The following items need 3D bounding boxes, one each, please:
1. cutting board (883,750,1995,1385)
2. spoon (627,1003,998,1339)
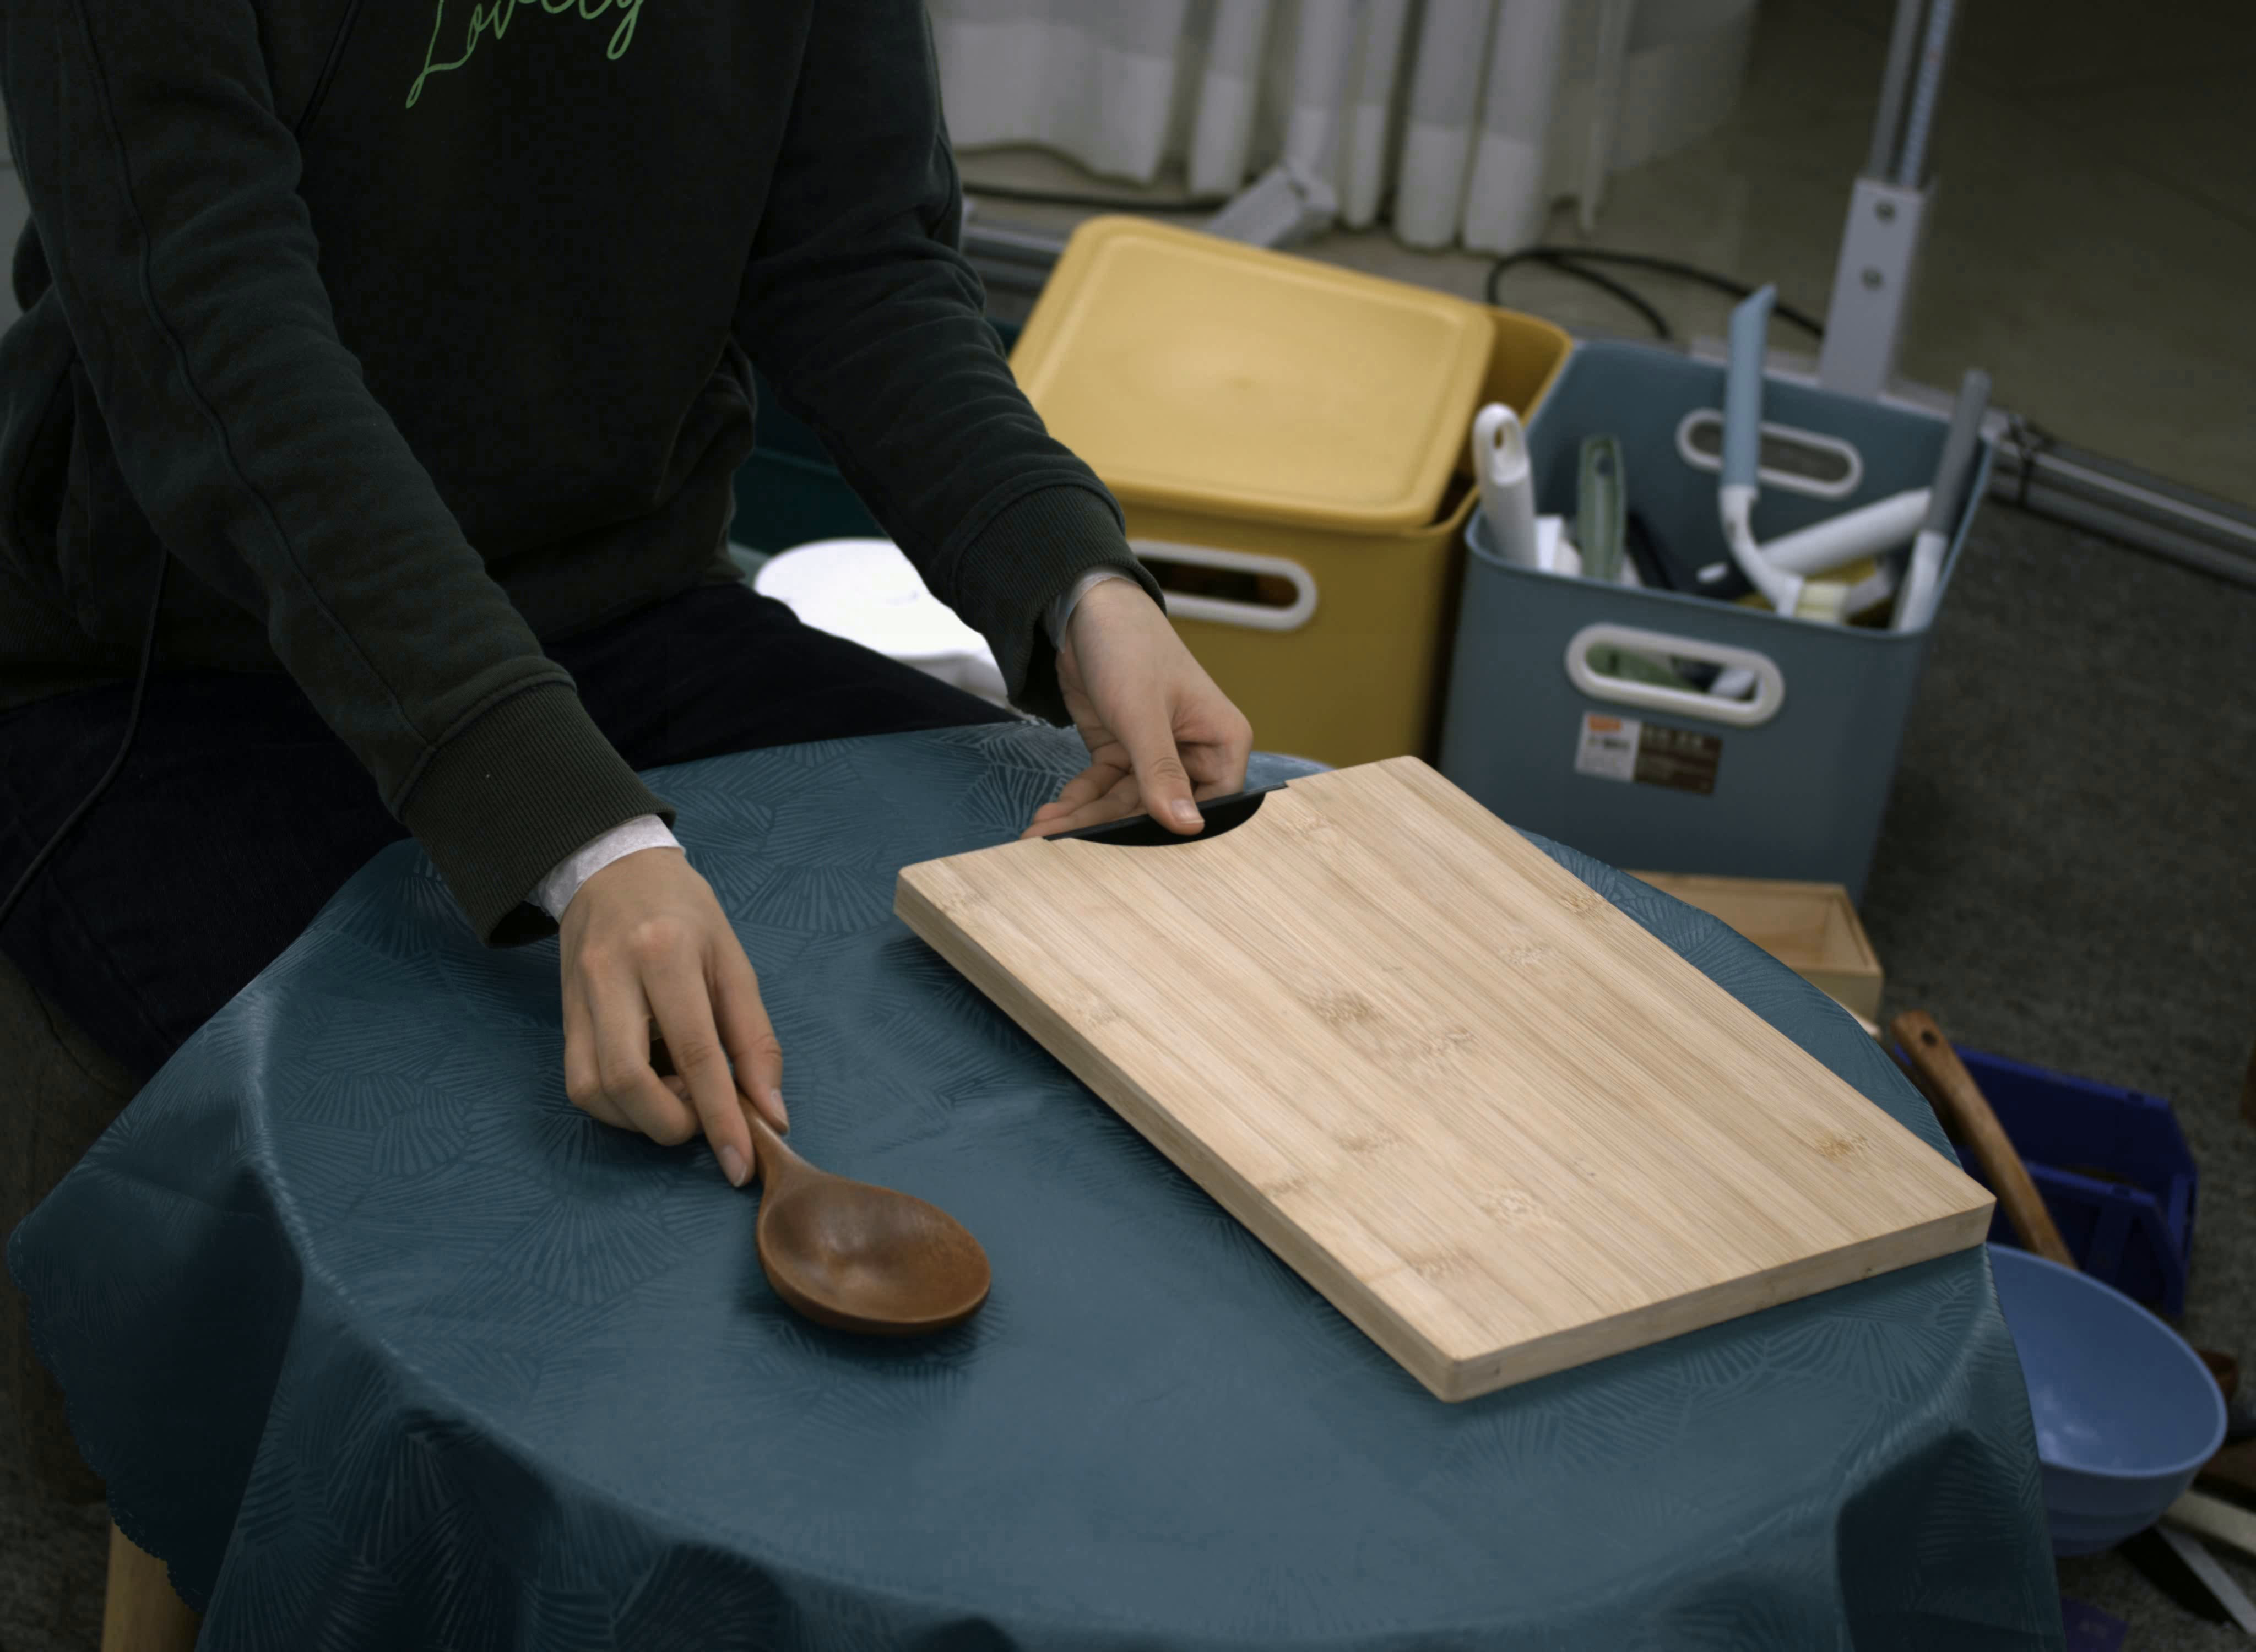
[{"bbox_3d":[0.103,0.077,1.885,0.249,0.023,0.352,-12,34,-34],"label":"cutting board"},{"bbox_3d":[-0.113,0.115,1.772,0.075,0.017,0.218,-11,32,-28],"label":"spoon"}]
